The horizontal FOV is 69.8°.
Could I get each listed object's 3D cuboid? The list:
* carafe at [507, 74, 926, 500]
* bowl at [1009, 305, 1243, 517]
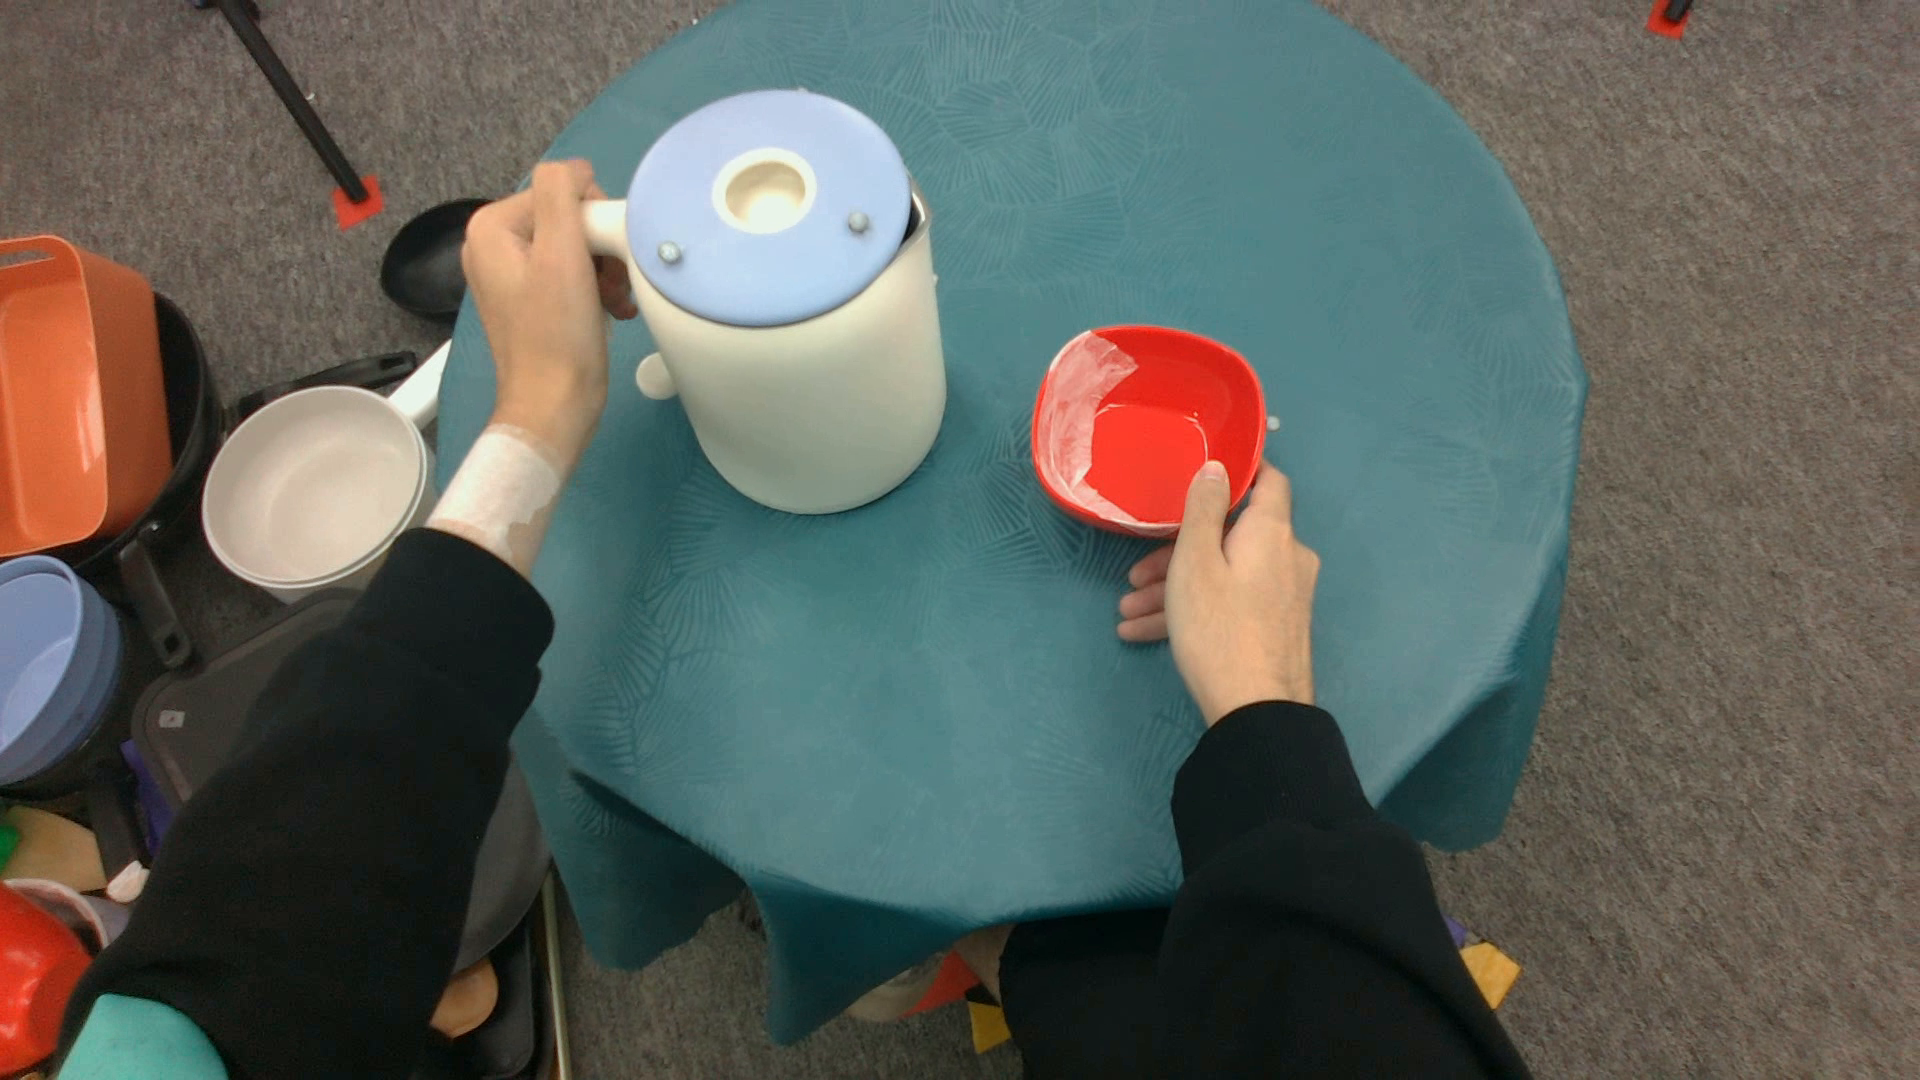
[{"bbox_3d":[-0.110,-0.113,0.644,0.191,0.182,0.133,2,64,6],"label":"carafe"},{"bbox_3d":[0.079,-0.055,0.675,0.119,0.051,0.119,0,63,-1],"label":"bowl"}]
